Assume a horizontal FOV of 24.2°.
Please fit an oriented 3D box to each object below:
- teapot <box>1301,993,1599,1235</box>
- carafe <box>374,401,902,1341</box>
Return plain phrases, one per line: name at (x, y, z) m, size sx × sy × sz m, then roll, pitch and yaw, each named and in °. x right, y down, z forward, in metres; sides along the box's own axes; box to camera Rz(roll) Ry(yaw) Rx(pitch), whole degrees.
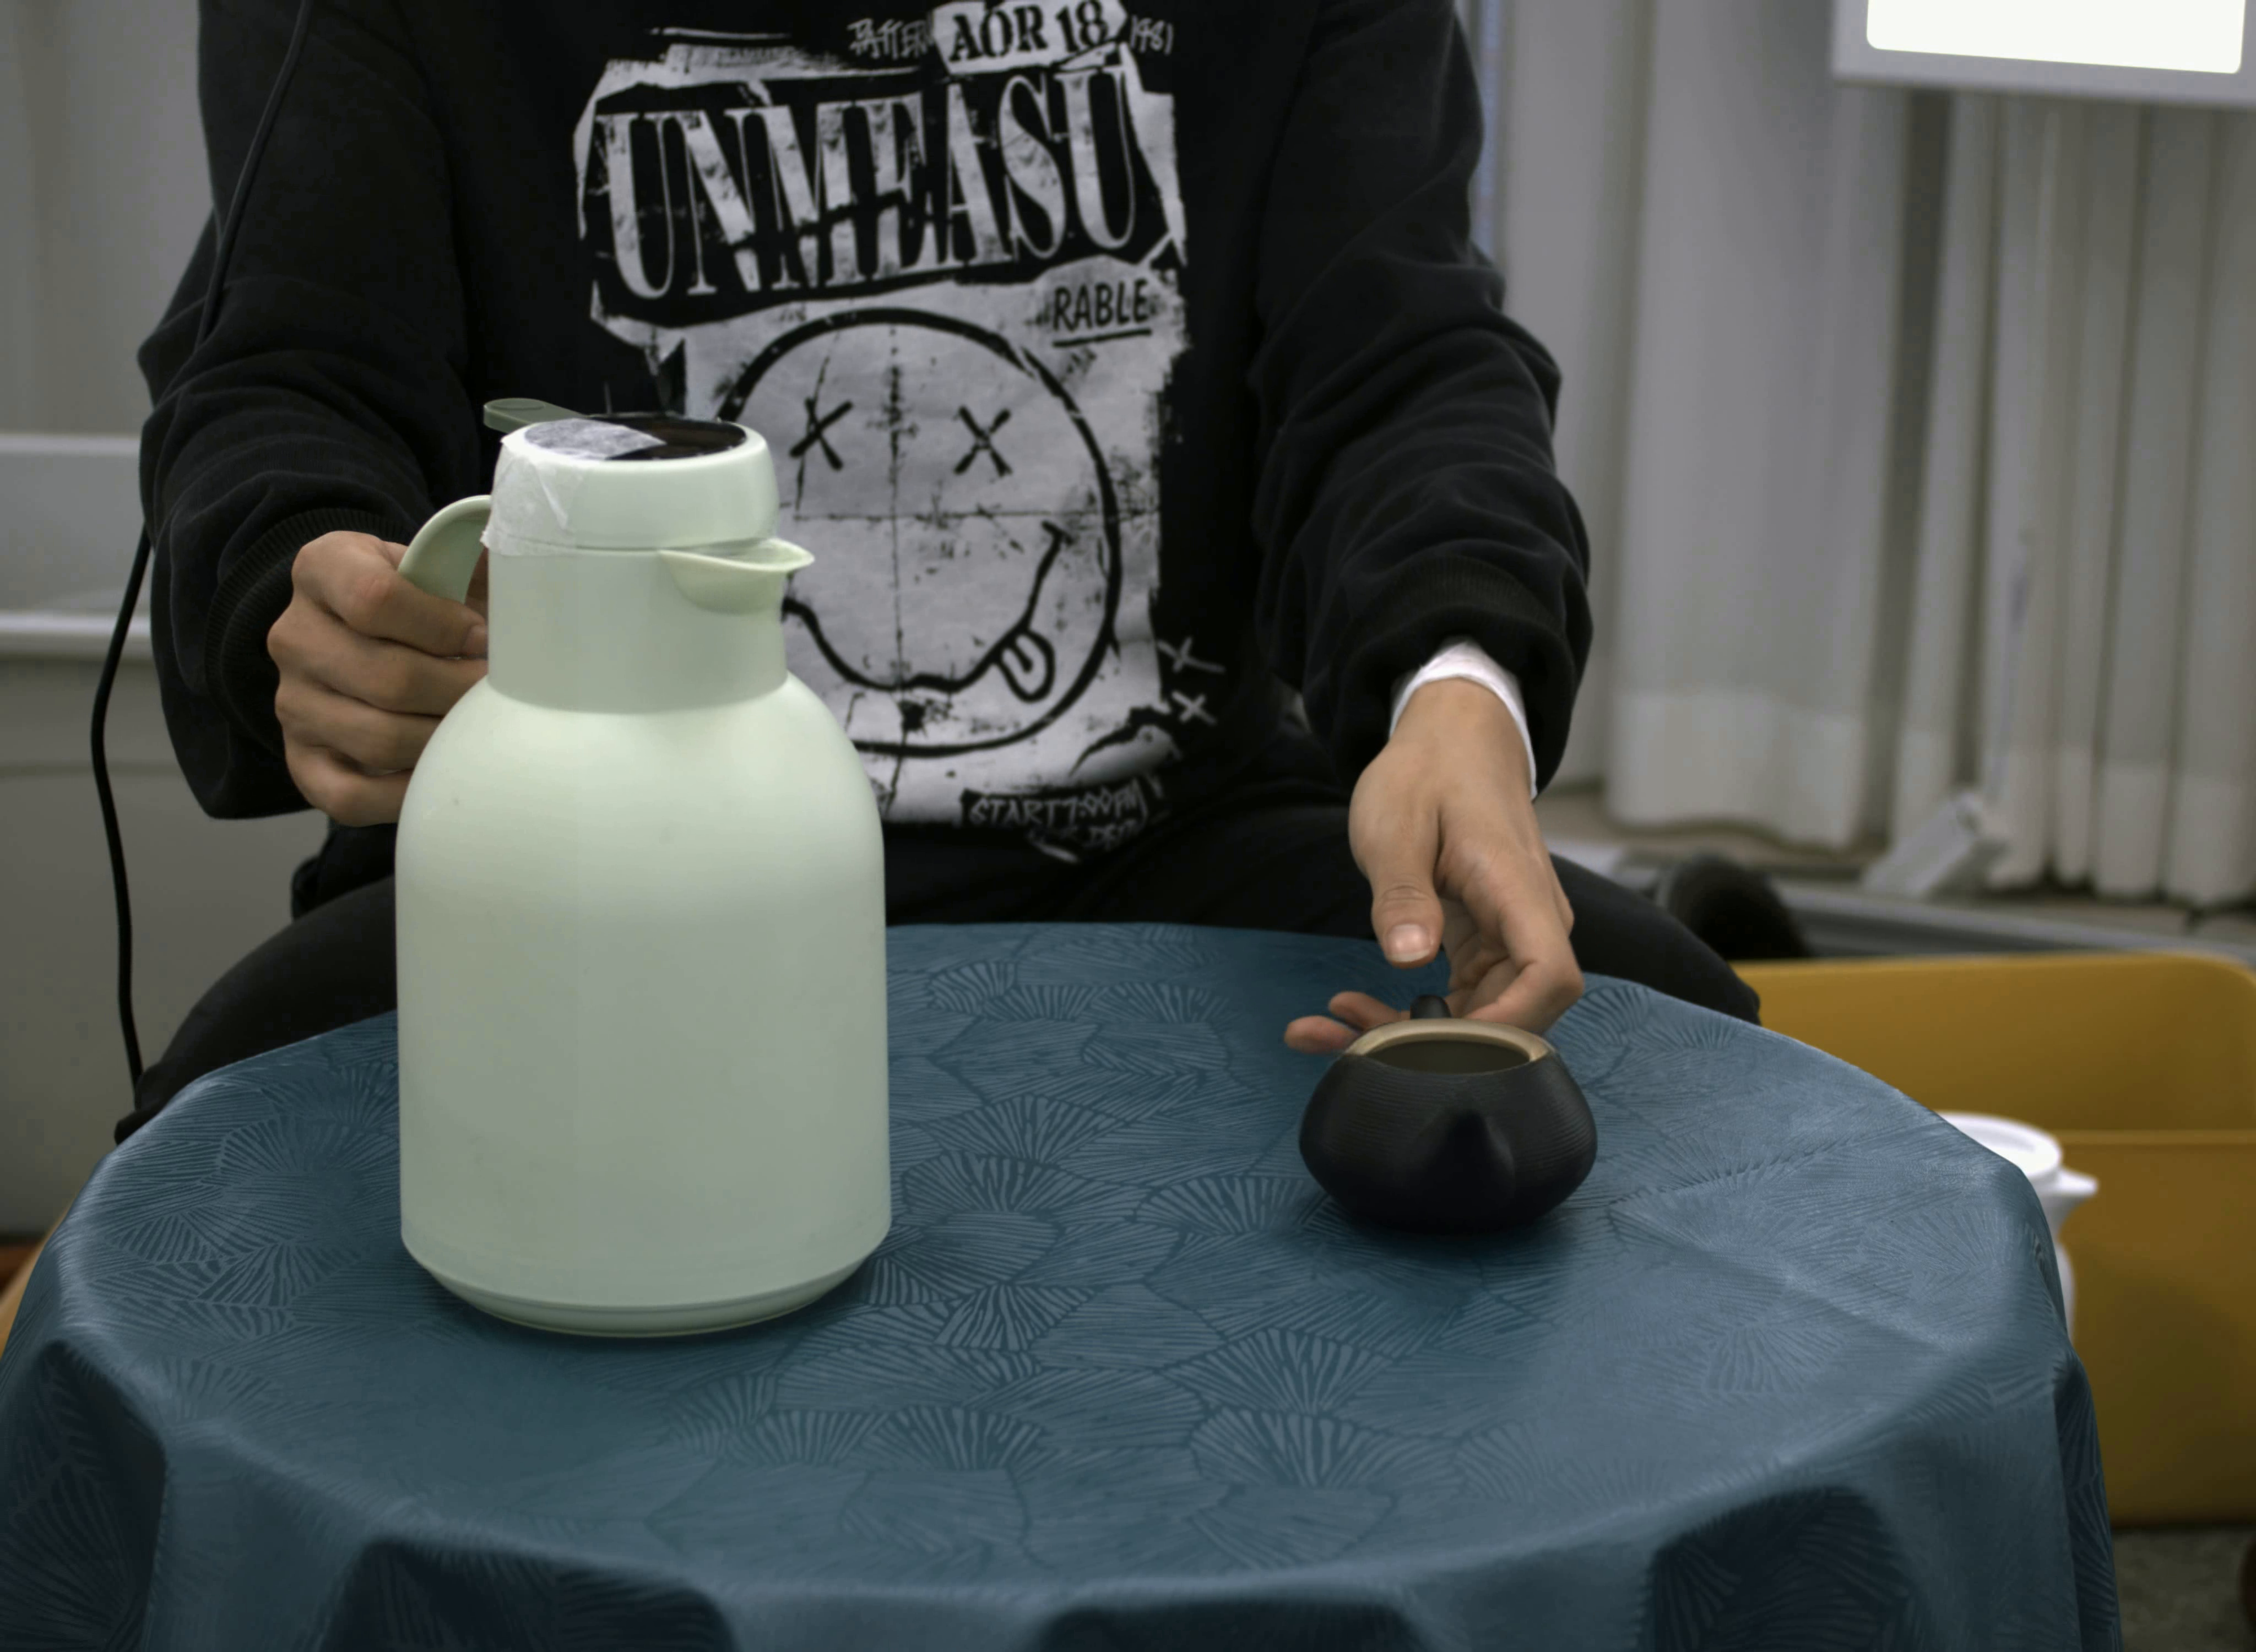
teapot at (0.098, 0.091, 1.602) m, size 0.091 × 0.053 × 0.132 m, roll 1°, pitch 16°, yaw -4°
carafe at (-0.150, 0.007, 1.529) m, size 0.145 × 0.259 × 0.184 m, roll -16°, pitch 20°, yaw -41°
